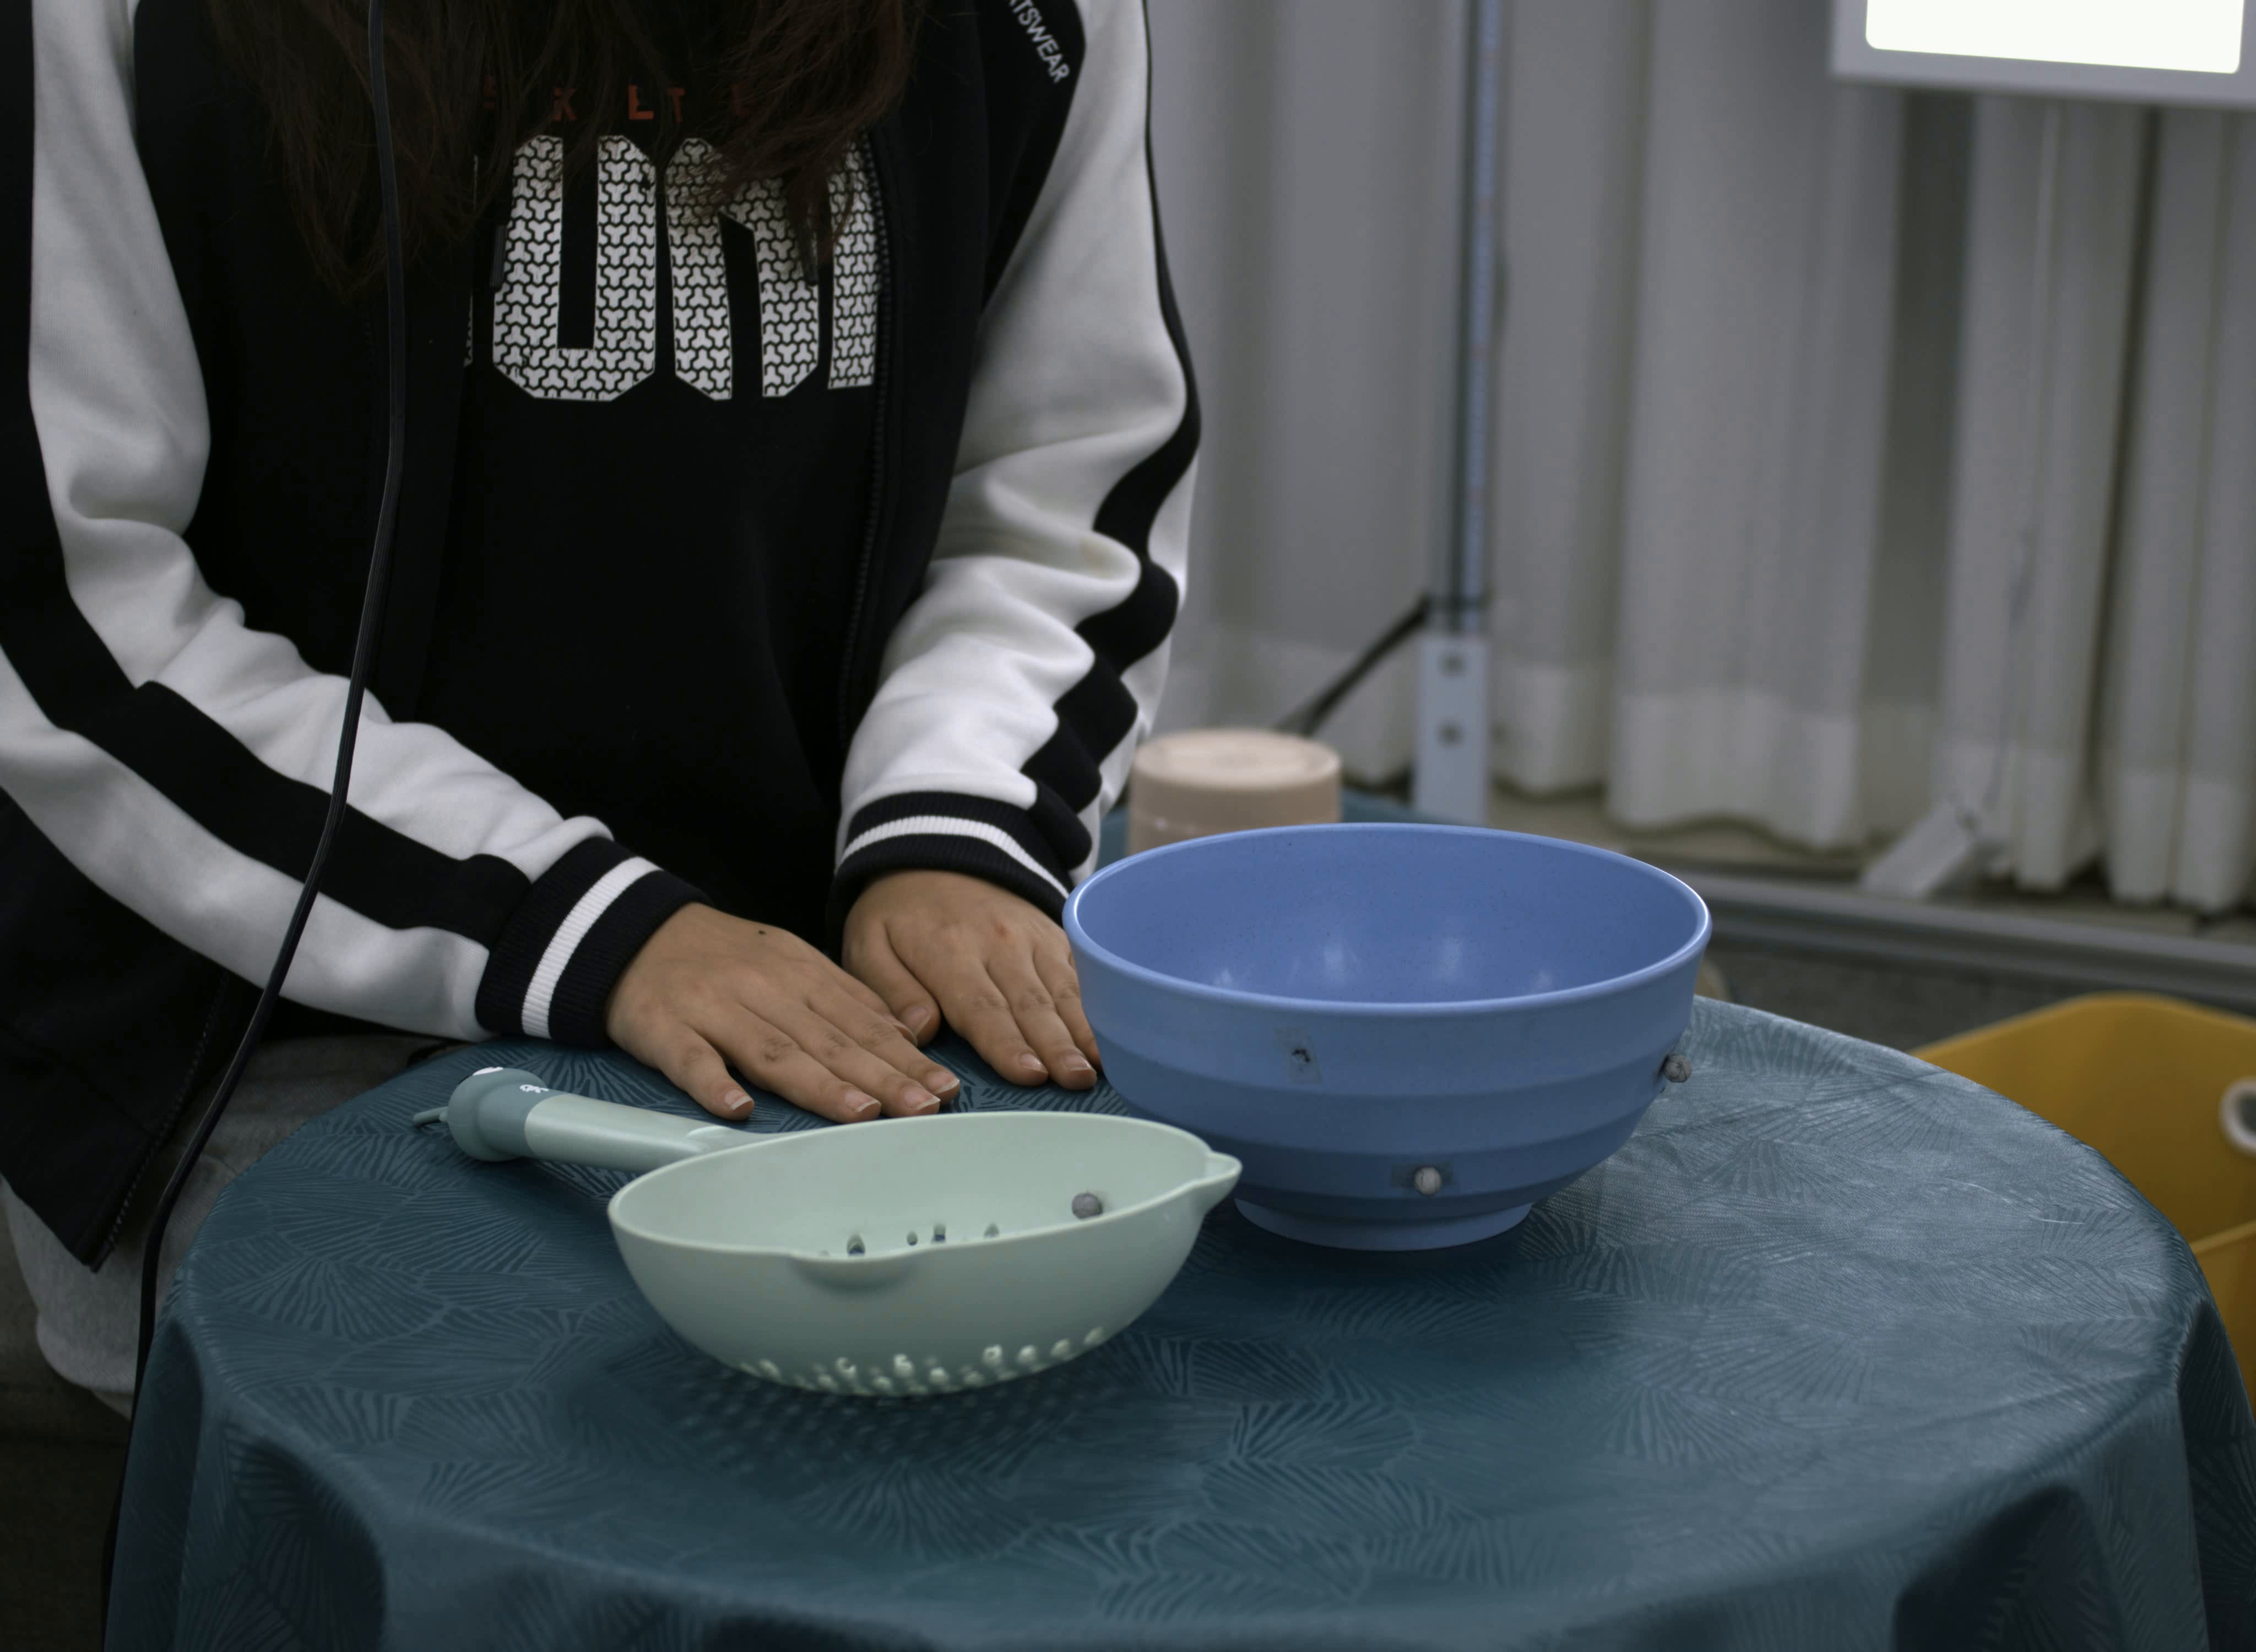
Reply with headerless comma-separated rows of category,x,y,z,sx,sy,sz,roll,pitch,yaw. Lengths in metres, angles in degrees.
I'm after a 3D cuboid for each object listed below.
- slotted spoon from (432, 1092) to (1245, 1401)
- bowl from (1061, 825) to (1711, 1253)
slotted spoon,-0.115,0.105,1.535,0.170,0.076,0.354,-9,16,-35
bowl,0.078,0.070,1.600,0.196,0.096,0.195,0,16,1
